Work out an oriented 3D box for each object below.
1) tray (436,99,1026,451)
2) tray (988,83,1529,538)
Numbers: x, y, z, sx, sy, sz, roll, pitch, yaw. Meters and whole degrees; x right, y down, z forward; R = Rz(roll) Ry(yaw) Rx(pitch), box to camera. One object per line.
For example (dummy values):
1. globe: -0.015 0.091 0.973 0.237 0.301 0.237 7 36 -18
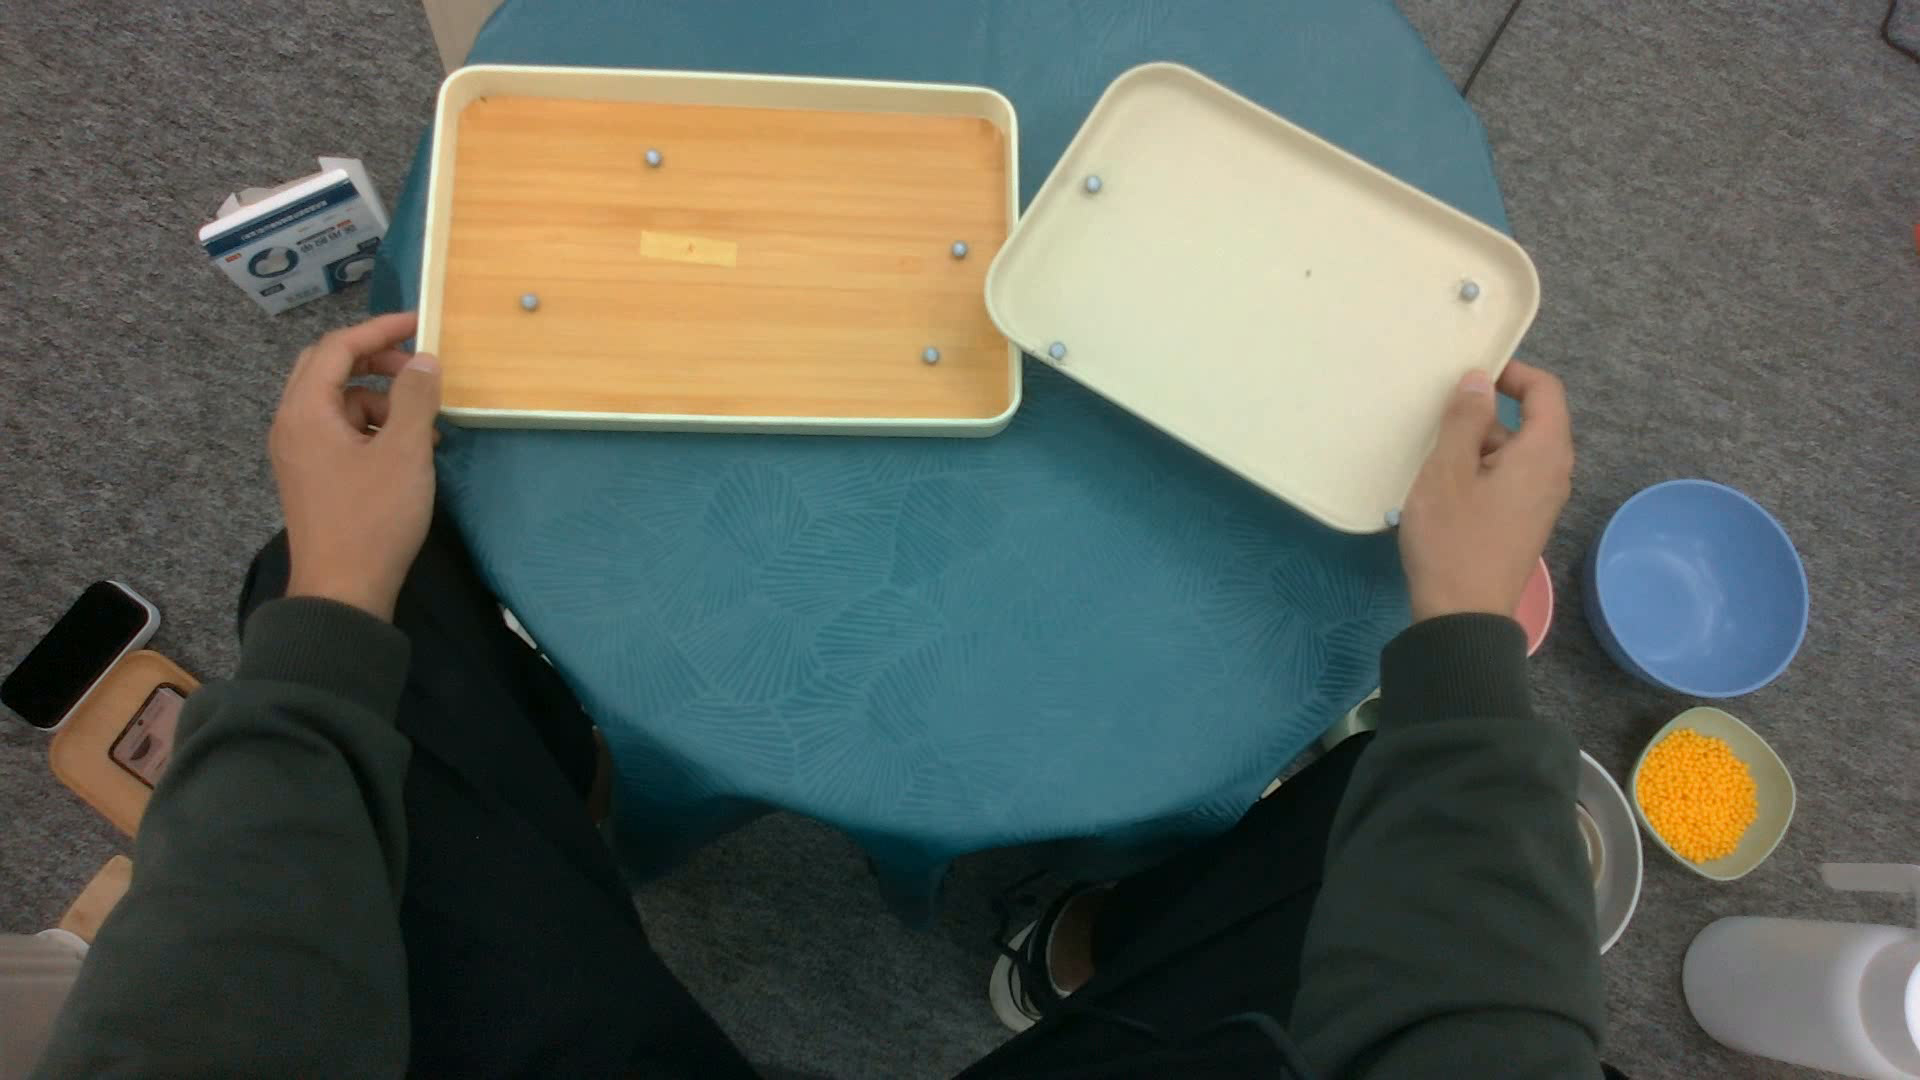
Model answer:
1. tray: -0.117 -0.141 0.733 0.300 0.027 0.192 0 76 -4
2. tray: 0.148 -0.118 0.694 0.239 0.017 0.171 31 81 10
